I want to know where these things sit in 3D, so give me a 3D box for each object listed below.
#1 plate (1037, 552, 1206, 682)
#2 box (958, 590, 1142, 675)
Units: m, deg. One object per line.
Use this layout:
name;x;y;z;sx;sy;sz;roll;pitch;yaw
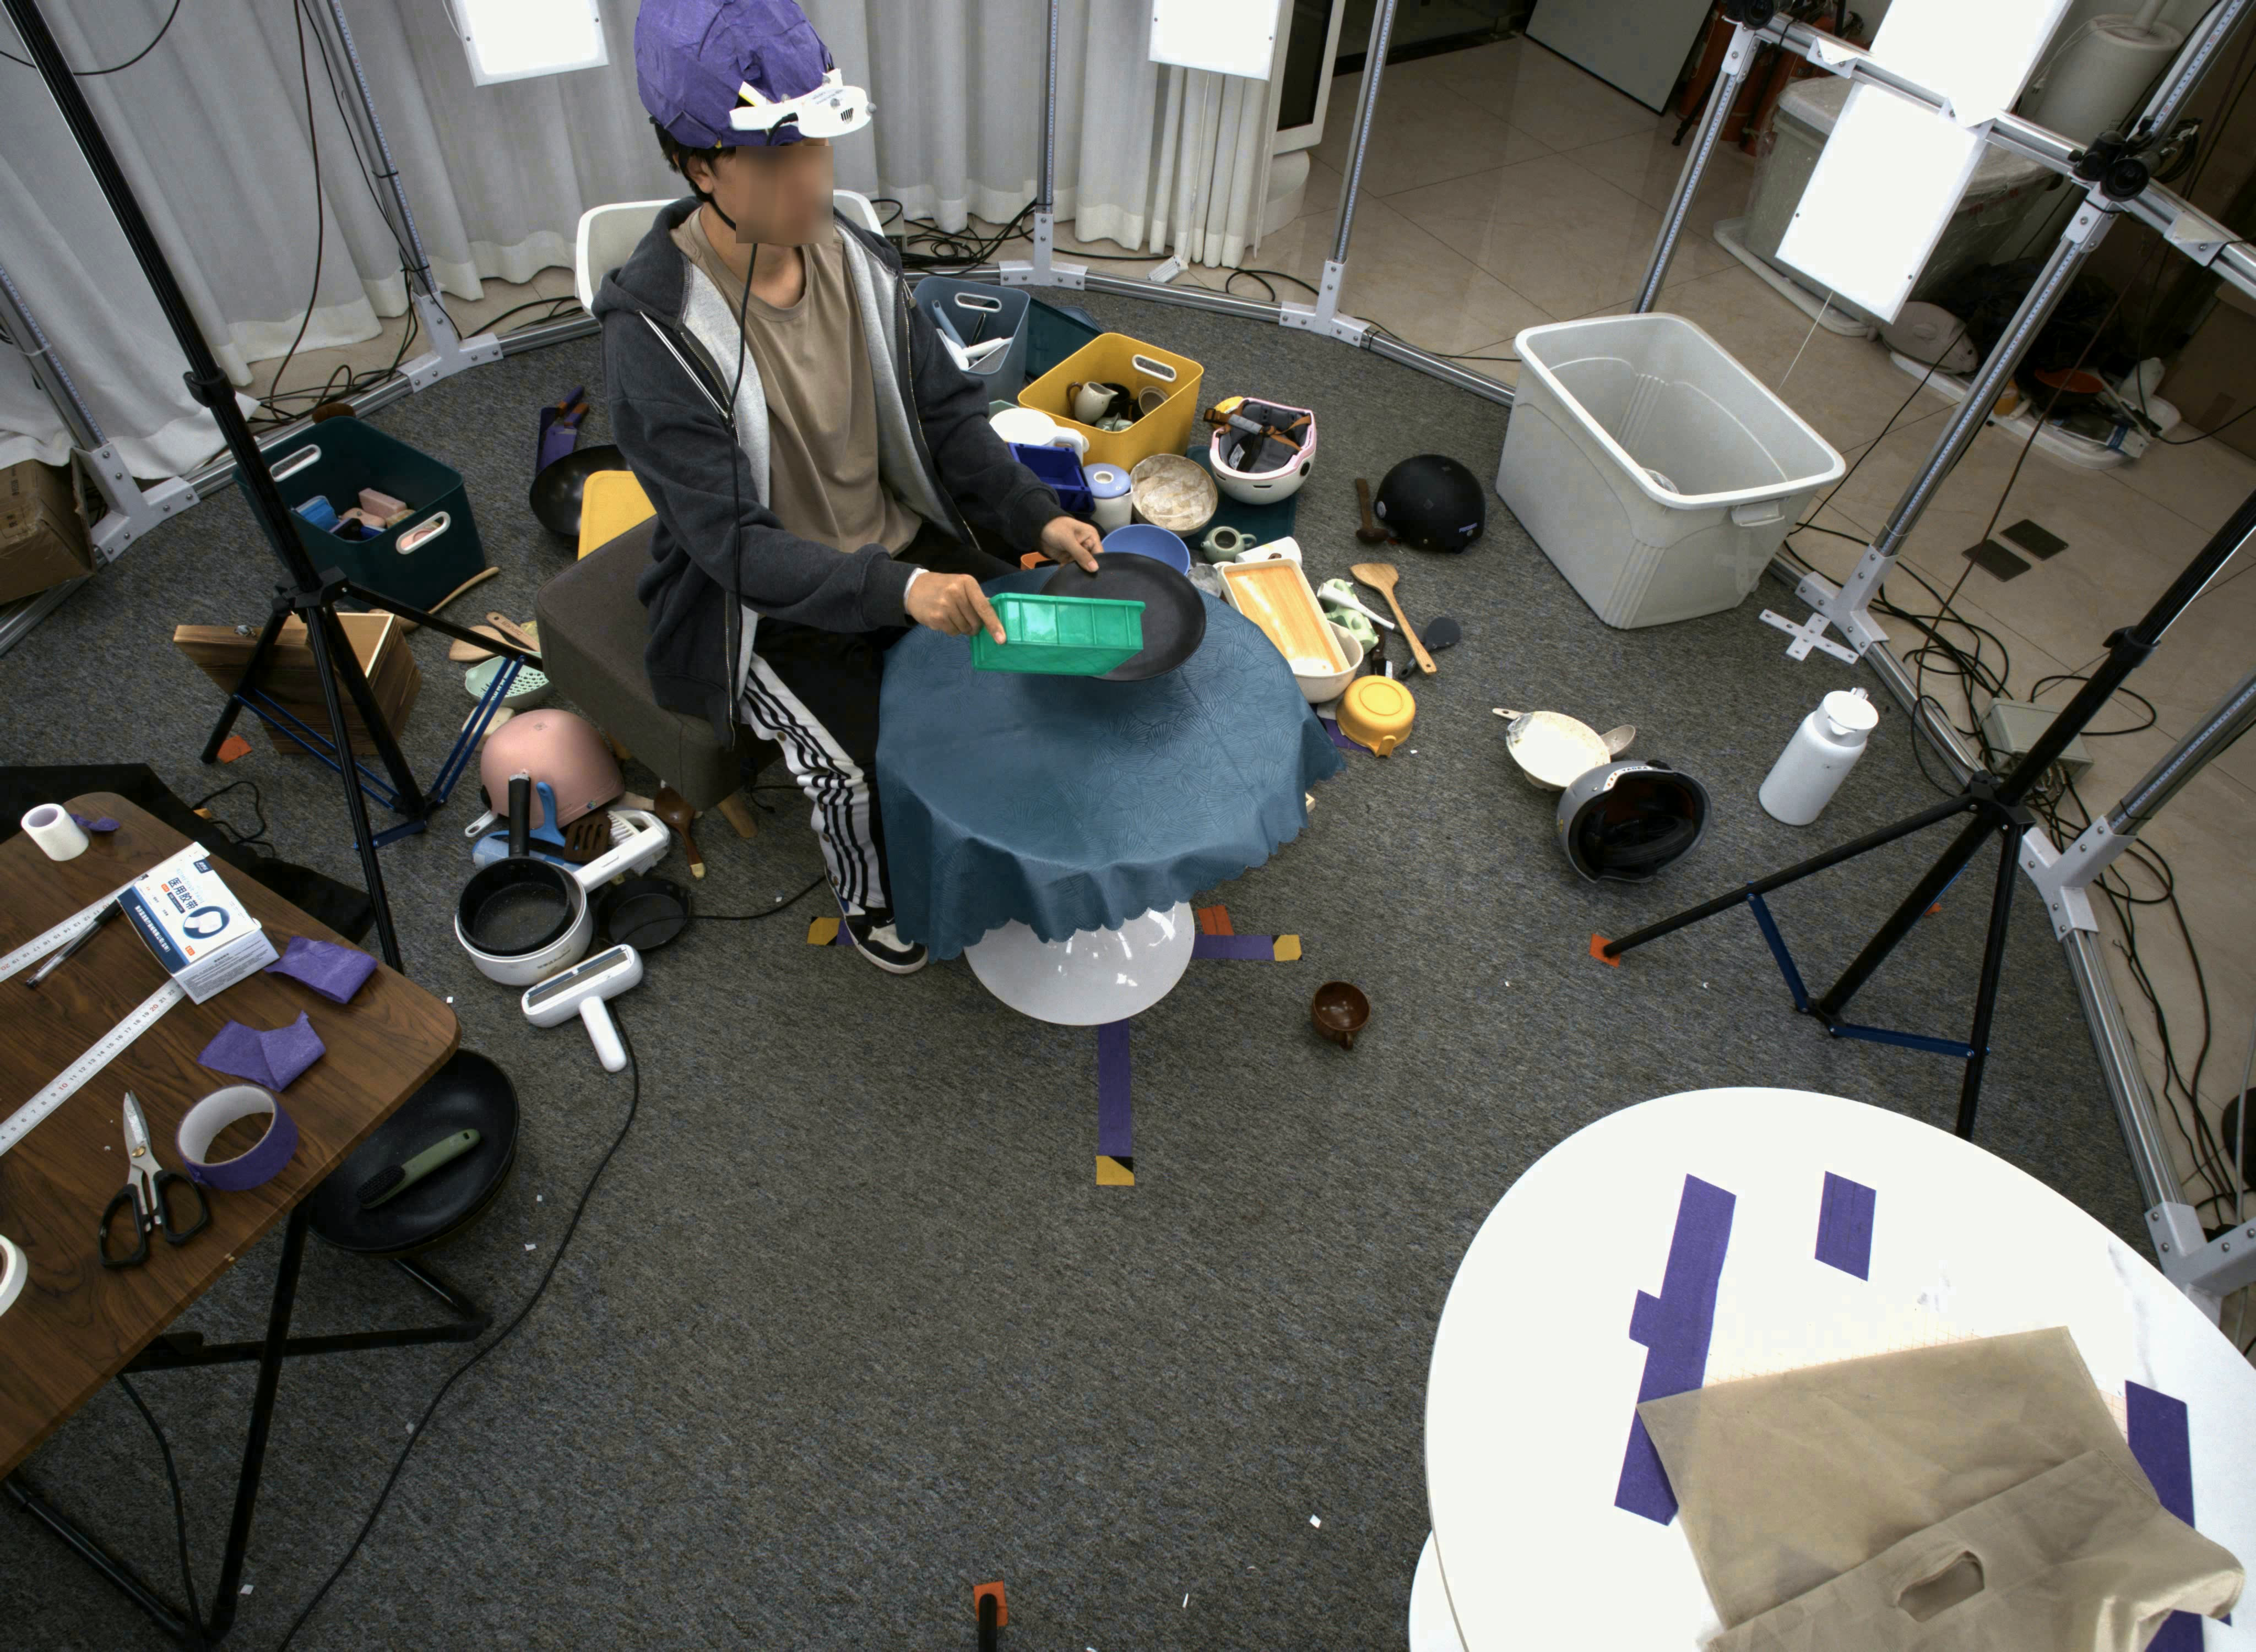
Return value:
plate;-0.012;-0.291;1.805;0.244;0.023;0.250;1;55;-1
box;-0.094;-0.235;1.589;0.210;0.138;0.066;-2;78;-28
